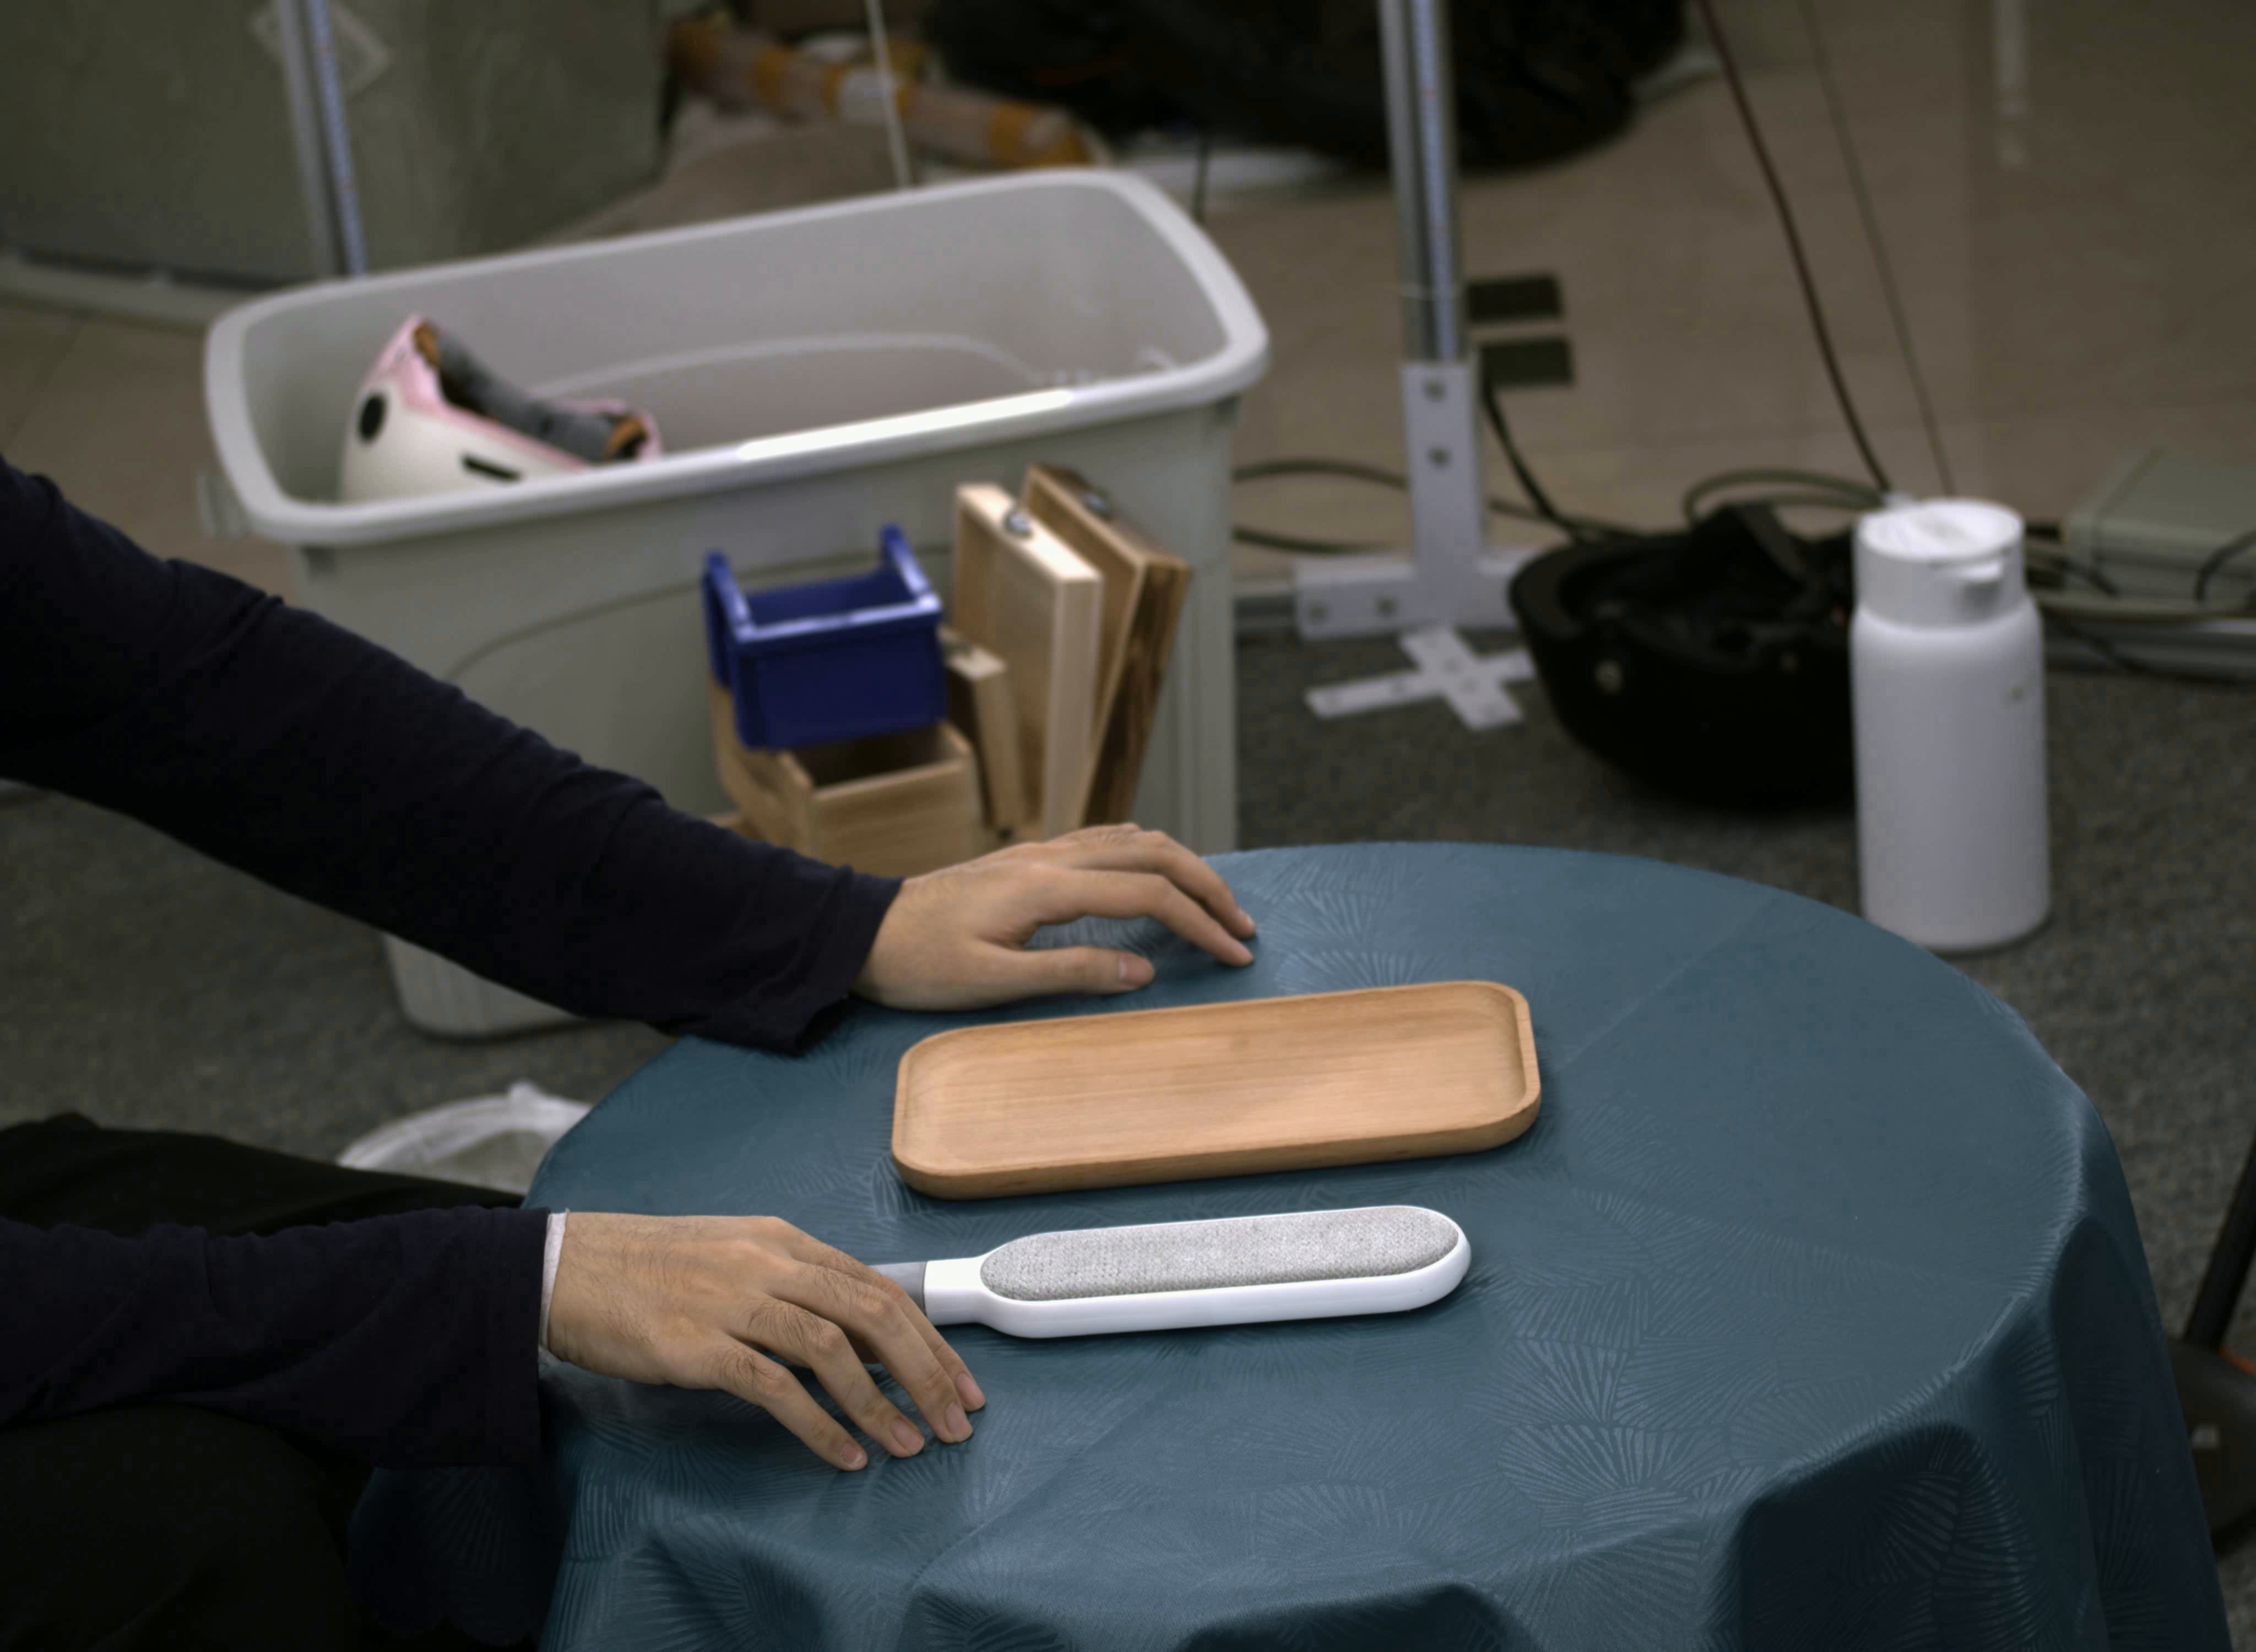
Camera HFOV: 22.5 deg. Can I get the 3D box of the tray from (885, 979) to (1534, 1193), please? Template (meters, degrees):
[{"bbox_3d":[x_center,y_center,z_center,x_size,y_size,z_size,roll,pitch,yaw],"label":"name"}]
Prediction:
[{"bbox_3d":[0.032,0.101,2.204,0.250,0.023,0.129,-5,23,5],"label":"tray"}]

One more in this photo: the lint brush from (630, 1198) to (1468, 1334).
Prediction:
[{"bbox_3d":[-0.030,0.164,2.073,0.308,0.021,0.059,-4,30,5],"label":"lint brush"}]
